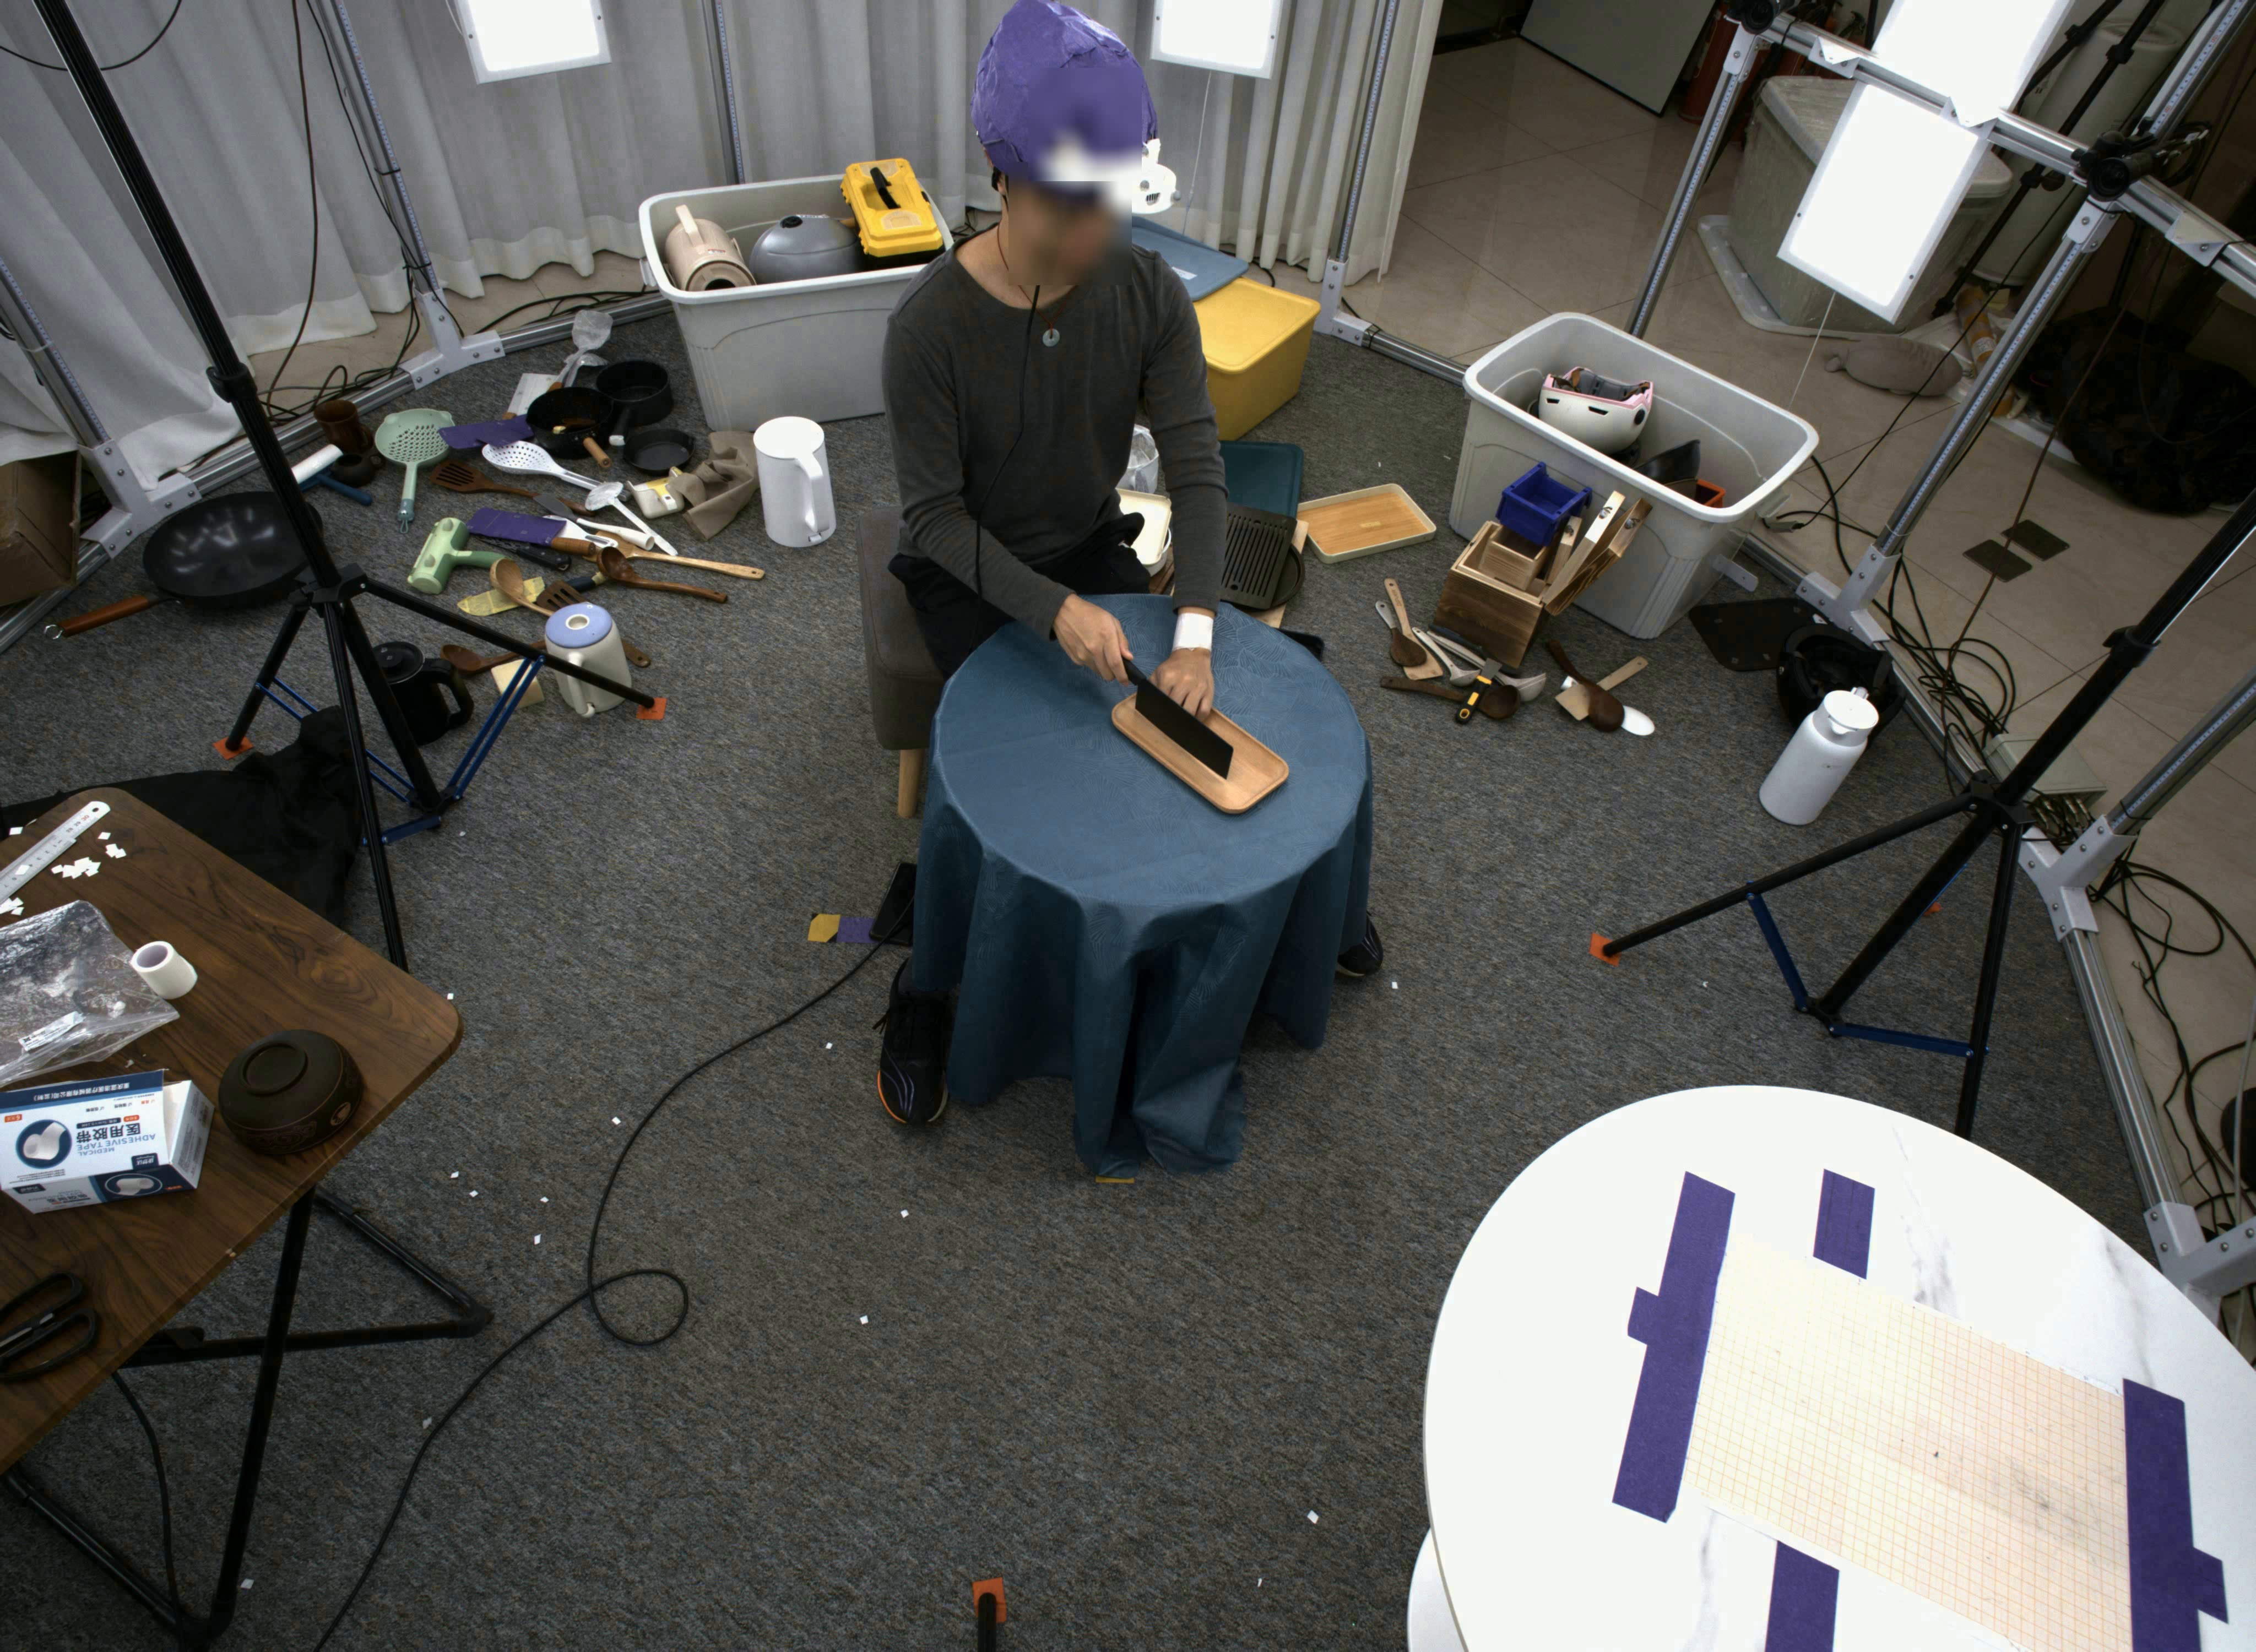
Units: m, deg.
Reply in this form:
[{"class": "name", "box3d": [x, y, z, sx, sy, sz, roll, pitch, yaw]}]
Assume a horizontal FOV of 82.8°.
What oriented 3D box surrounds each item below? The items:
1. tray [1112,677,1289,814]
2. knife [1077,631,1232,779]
[{"class": "tray", "box3d": [0.097, -0.113, 1.762, 0.131, 0.022, 0.255, -32, 57, -30]}, {"class": "knife", "box3d": [0.033, -0.172, 1.757, 0.021, 0.079, 0.307, -30, 61, -31]}]
